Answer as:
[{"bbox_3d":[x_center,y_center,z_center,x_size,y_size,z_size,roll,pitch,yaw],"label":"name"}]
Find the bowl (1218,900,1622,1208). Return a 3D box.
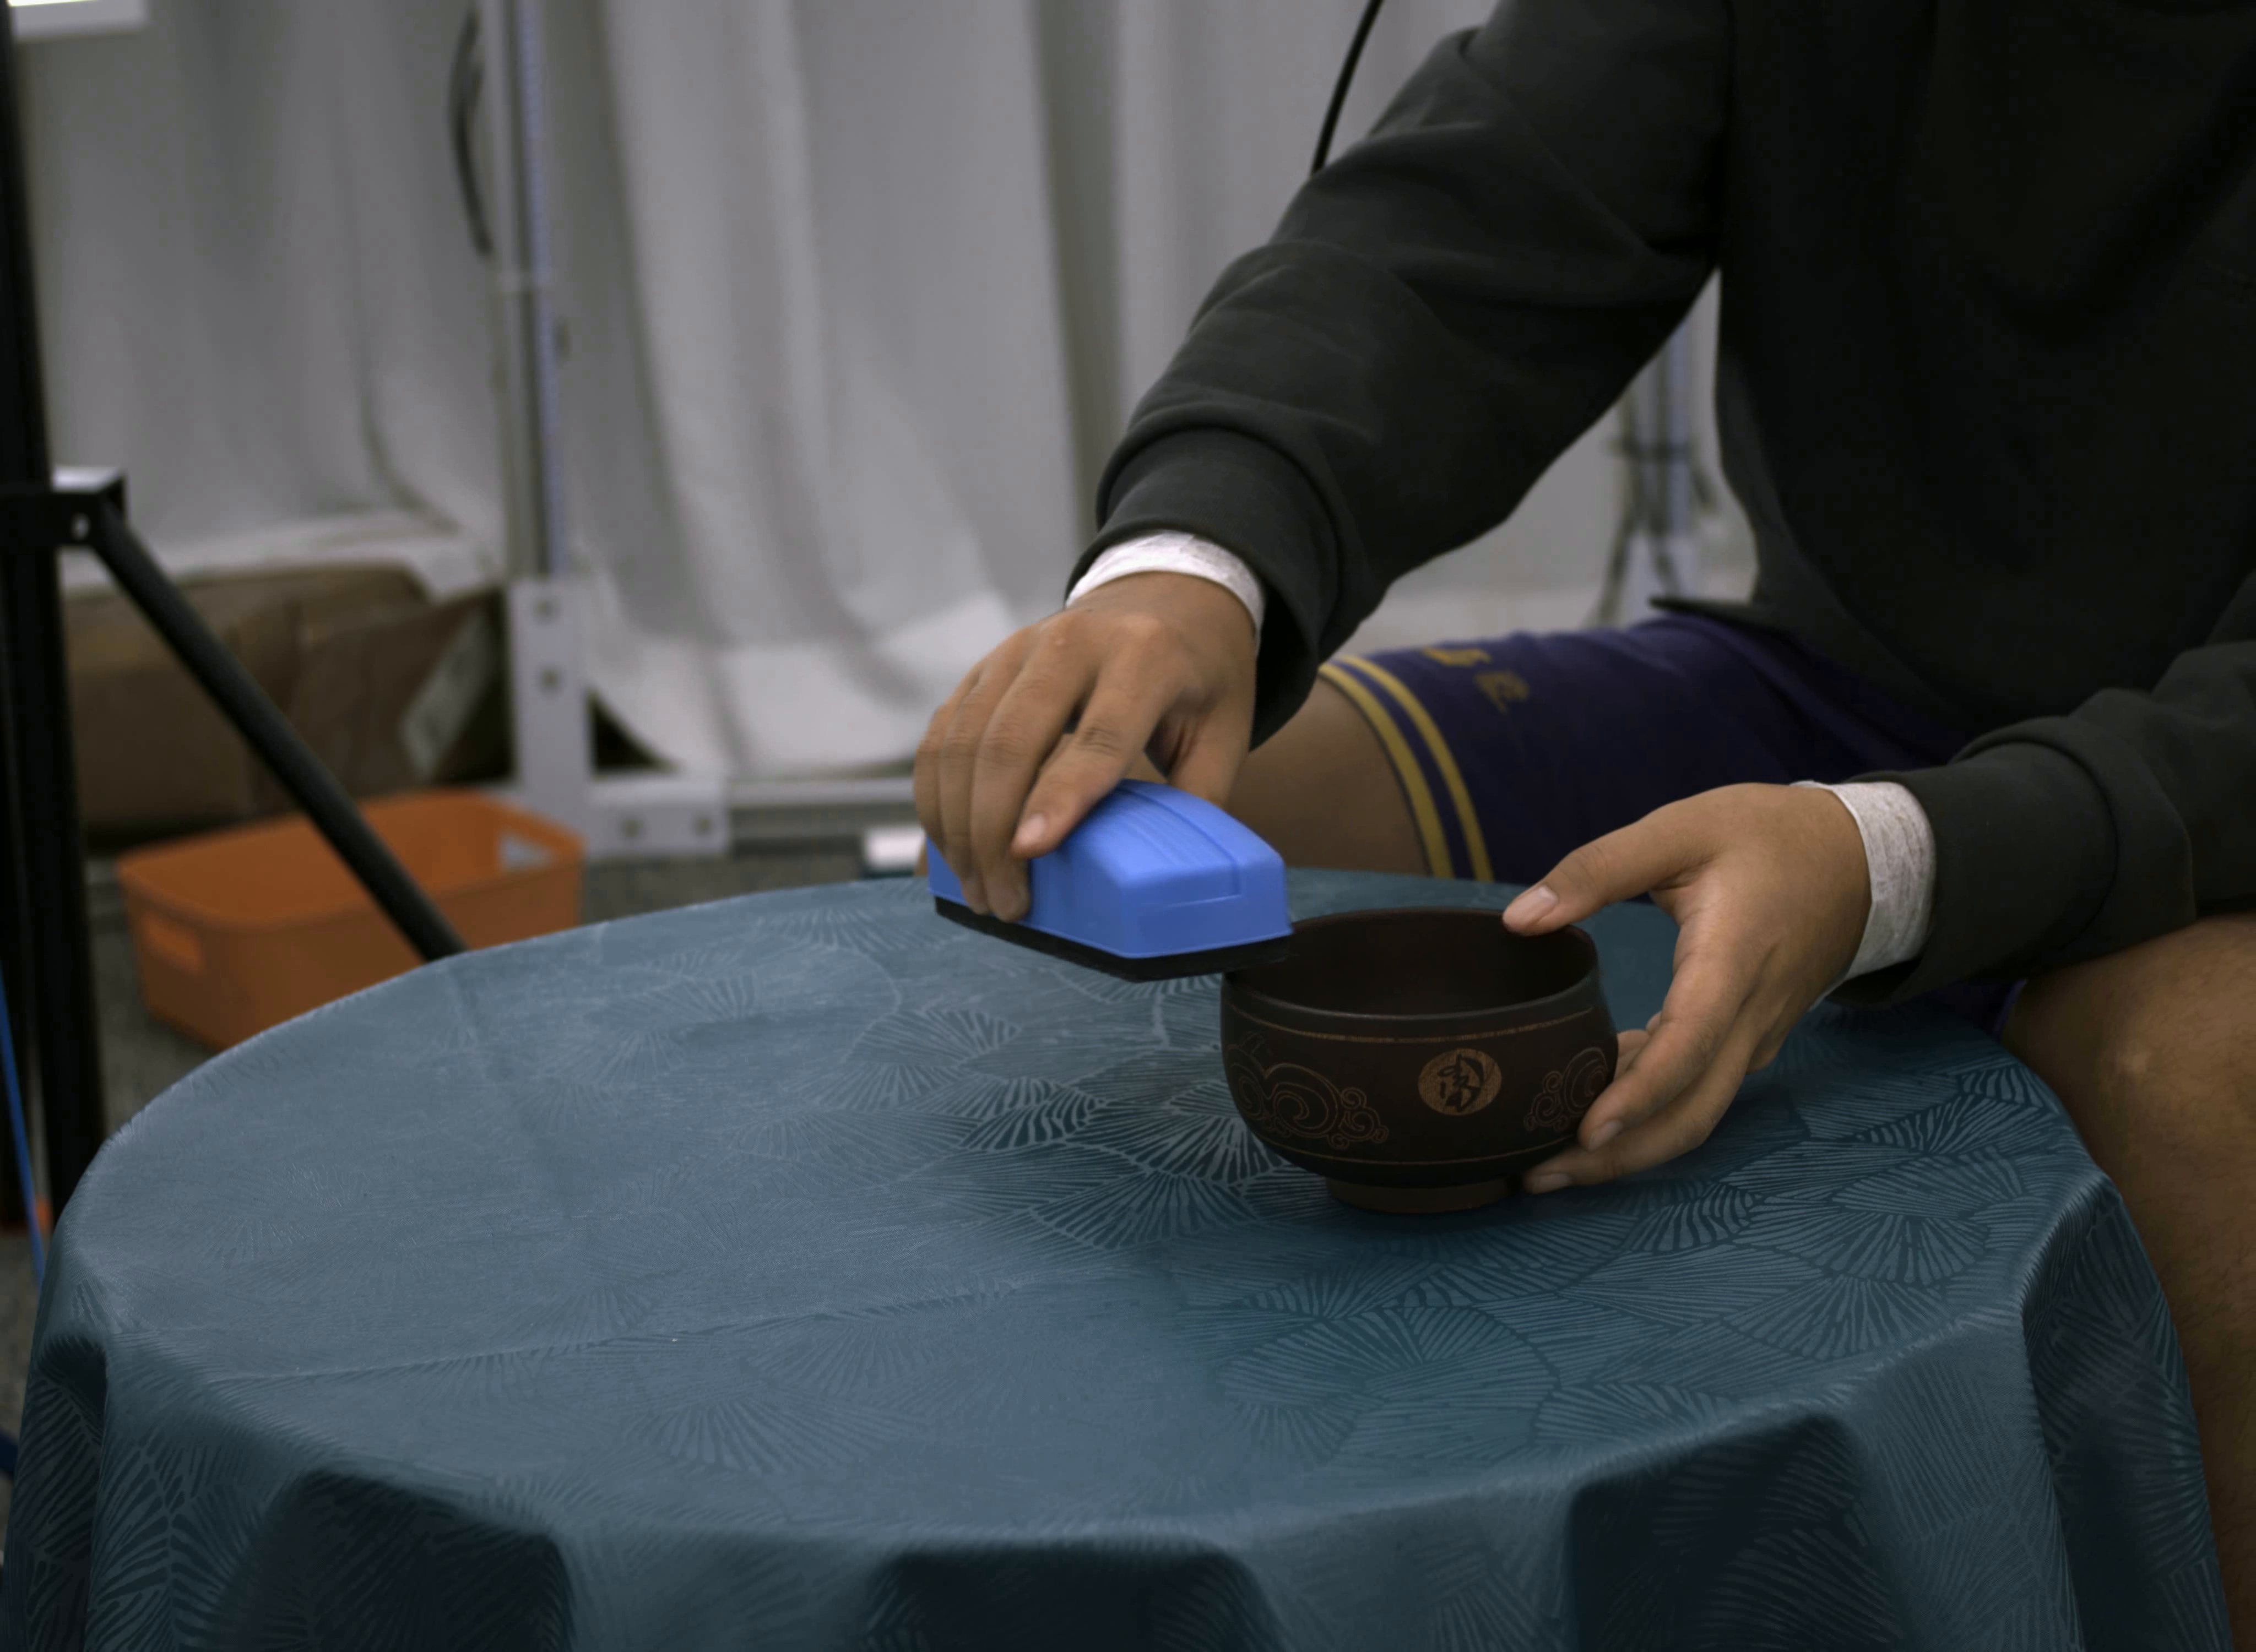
[{"bbox_3d":[0.085,0.070,1.543,0.117,0.070,0.118,-2,14,-1],"label":"bowl"}]

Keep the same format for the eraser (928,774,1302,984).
[{"bbox_3d":[-0.007,0.011,1.590,0.053,0.047,0.165,-12,11,-24],"label":"eraser"}]
